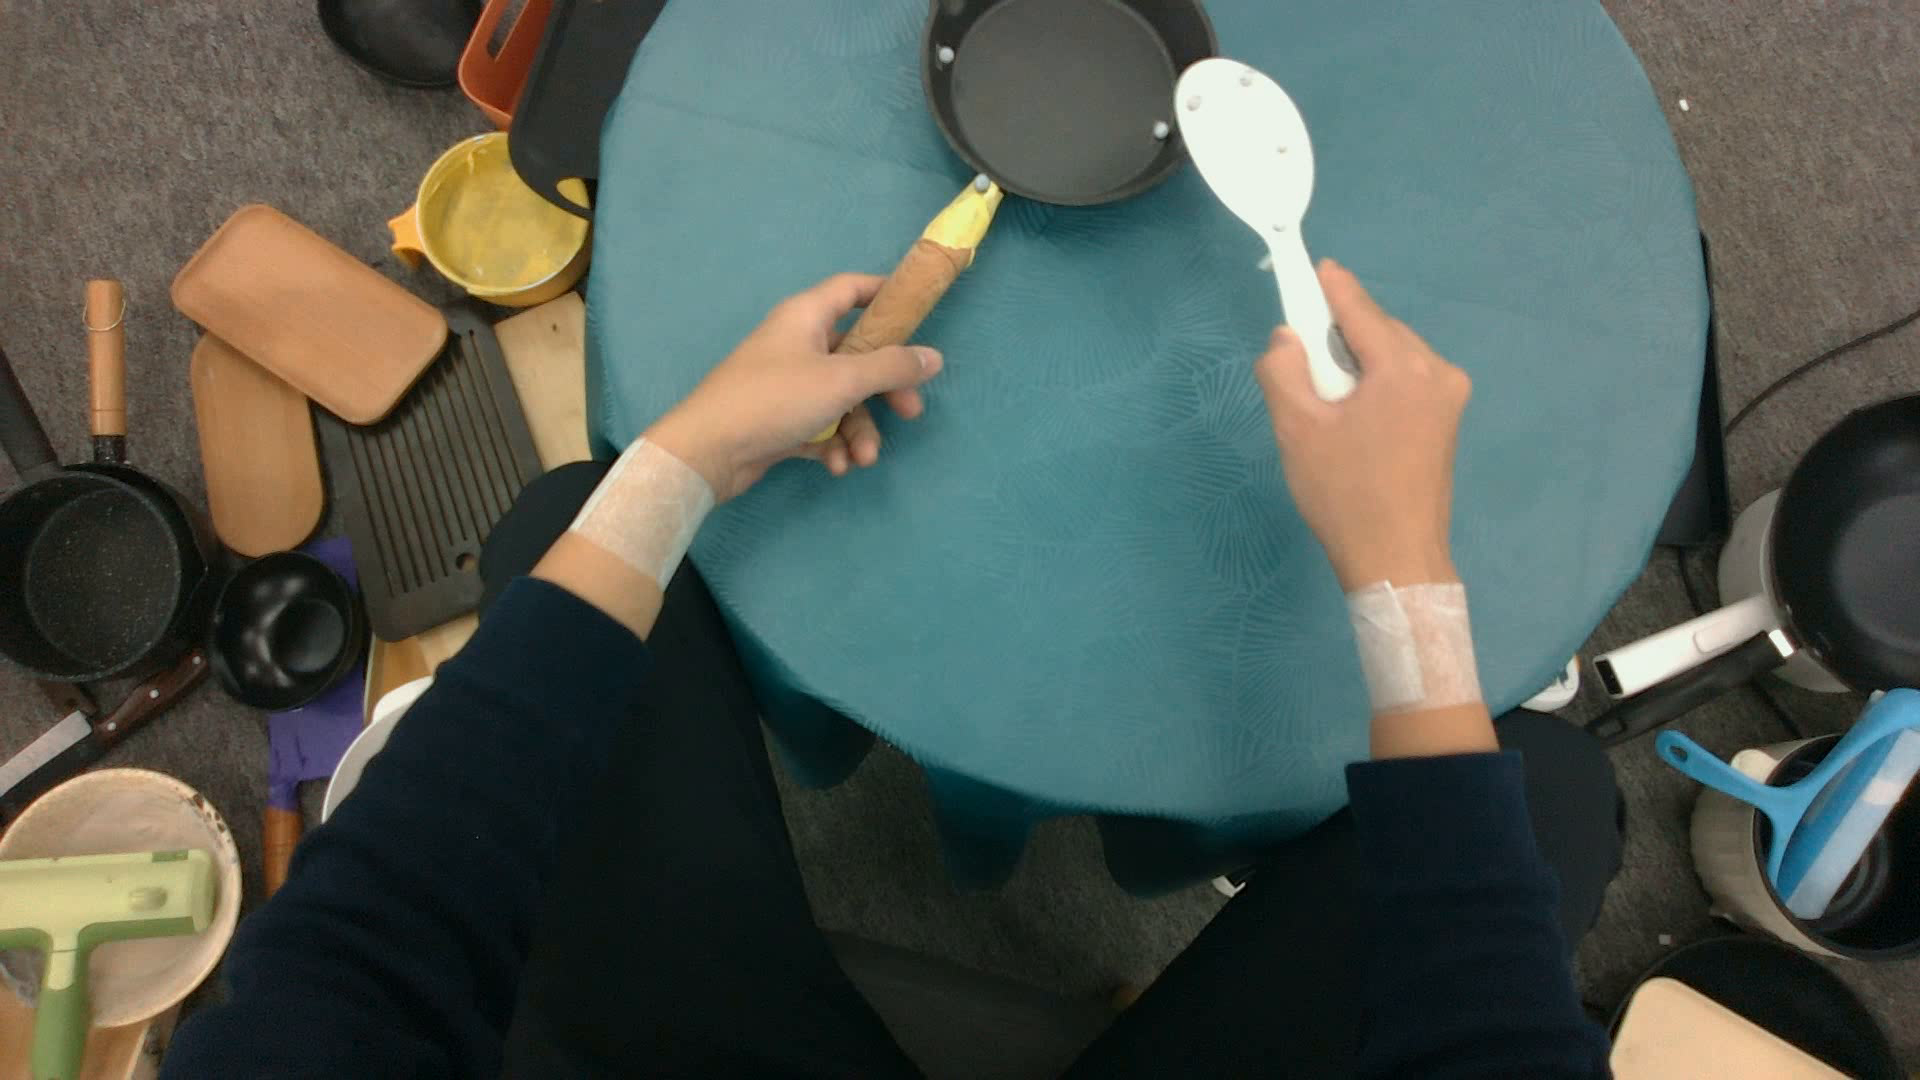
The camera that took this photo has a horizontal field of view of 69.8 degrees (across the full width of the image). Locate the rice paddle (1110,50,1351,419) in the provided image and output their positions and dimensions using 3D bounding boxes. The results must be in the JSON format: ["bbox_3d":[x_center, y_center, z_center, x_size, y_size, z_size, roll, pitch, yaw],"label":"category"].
[{"bbox_3d":[0.124,-0.151,0.639,0.069,0.029,0.205,-9,68,-30],"label":"rice paddle"}]

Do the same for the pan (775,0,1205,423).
[{"bbox_3d":[0.003,-0.190,0.709,0.169,0.049,0.325,34,78,3],"label":"pan"}]
